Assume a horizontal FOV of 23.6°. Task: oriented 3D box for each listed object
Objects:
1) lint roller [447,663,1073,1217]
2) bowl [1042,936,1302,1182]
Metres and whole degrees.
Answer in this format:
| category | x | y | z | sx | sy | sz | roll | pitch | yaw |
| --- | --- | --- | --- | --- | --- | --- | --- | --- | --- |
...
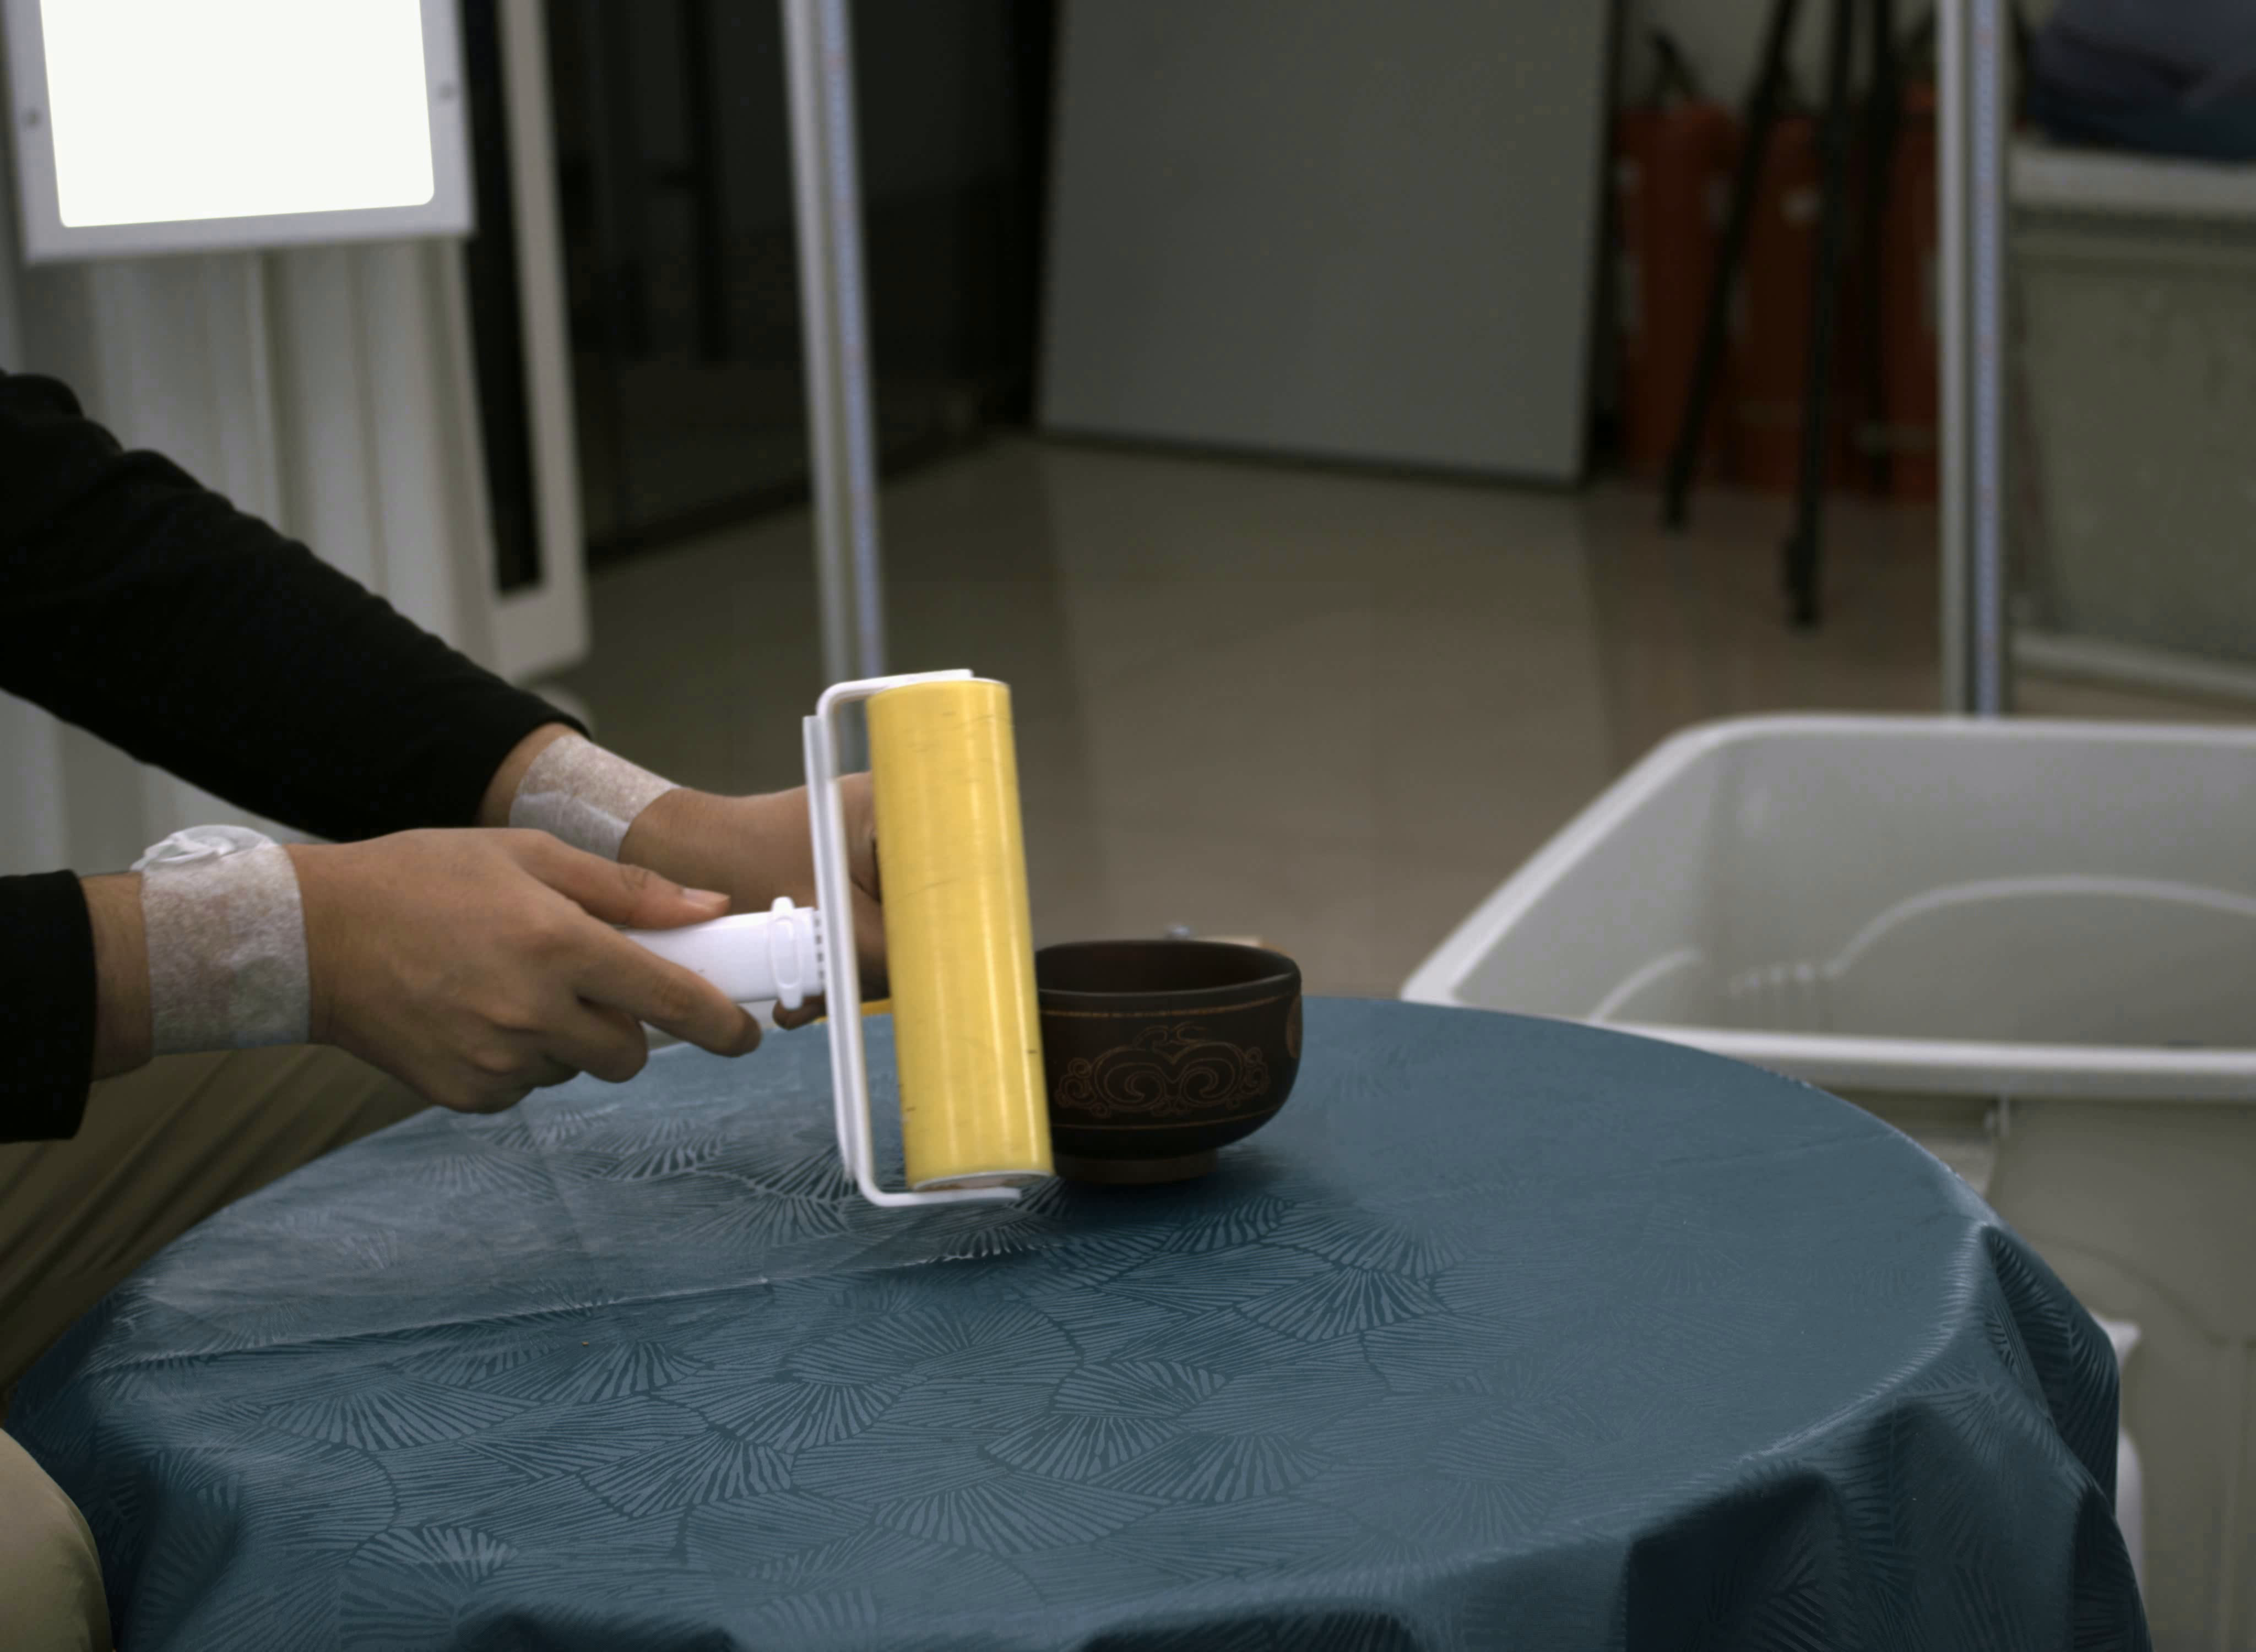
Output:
| category | x | y | z | sx | sy | sz | roll | pitch | yaw |
| --- | --- | --- | --- | --- | --- | --- | --- | --- | --- |
| lint roller | -0.121 | 0.043 | 1.715 | 0.189 | 0.176 | 0.051 | -6 | -12 | -7 |
| bowl | 0.000 | 0.078 | 1.777 | 0.116 | 0.071 | 0.118 | -1 | 6 | -1 |
